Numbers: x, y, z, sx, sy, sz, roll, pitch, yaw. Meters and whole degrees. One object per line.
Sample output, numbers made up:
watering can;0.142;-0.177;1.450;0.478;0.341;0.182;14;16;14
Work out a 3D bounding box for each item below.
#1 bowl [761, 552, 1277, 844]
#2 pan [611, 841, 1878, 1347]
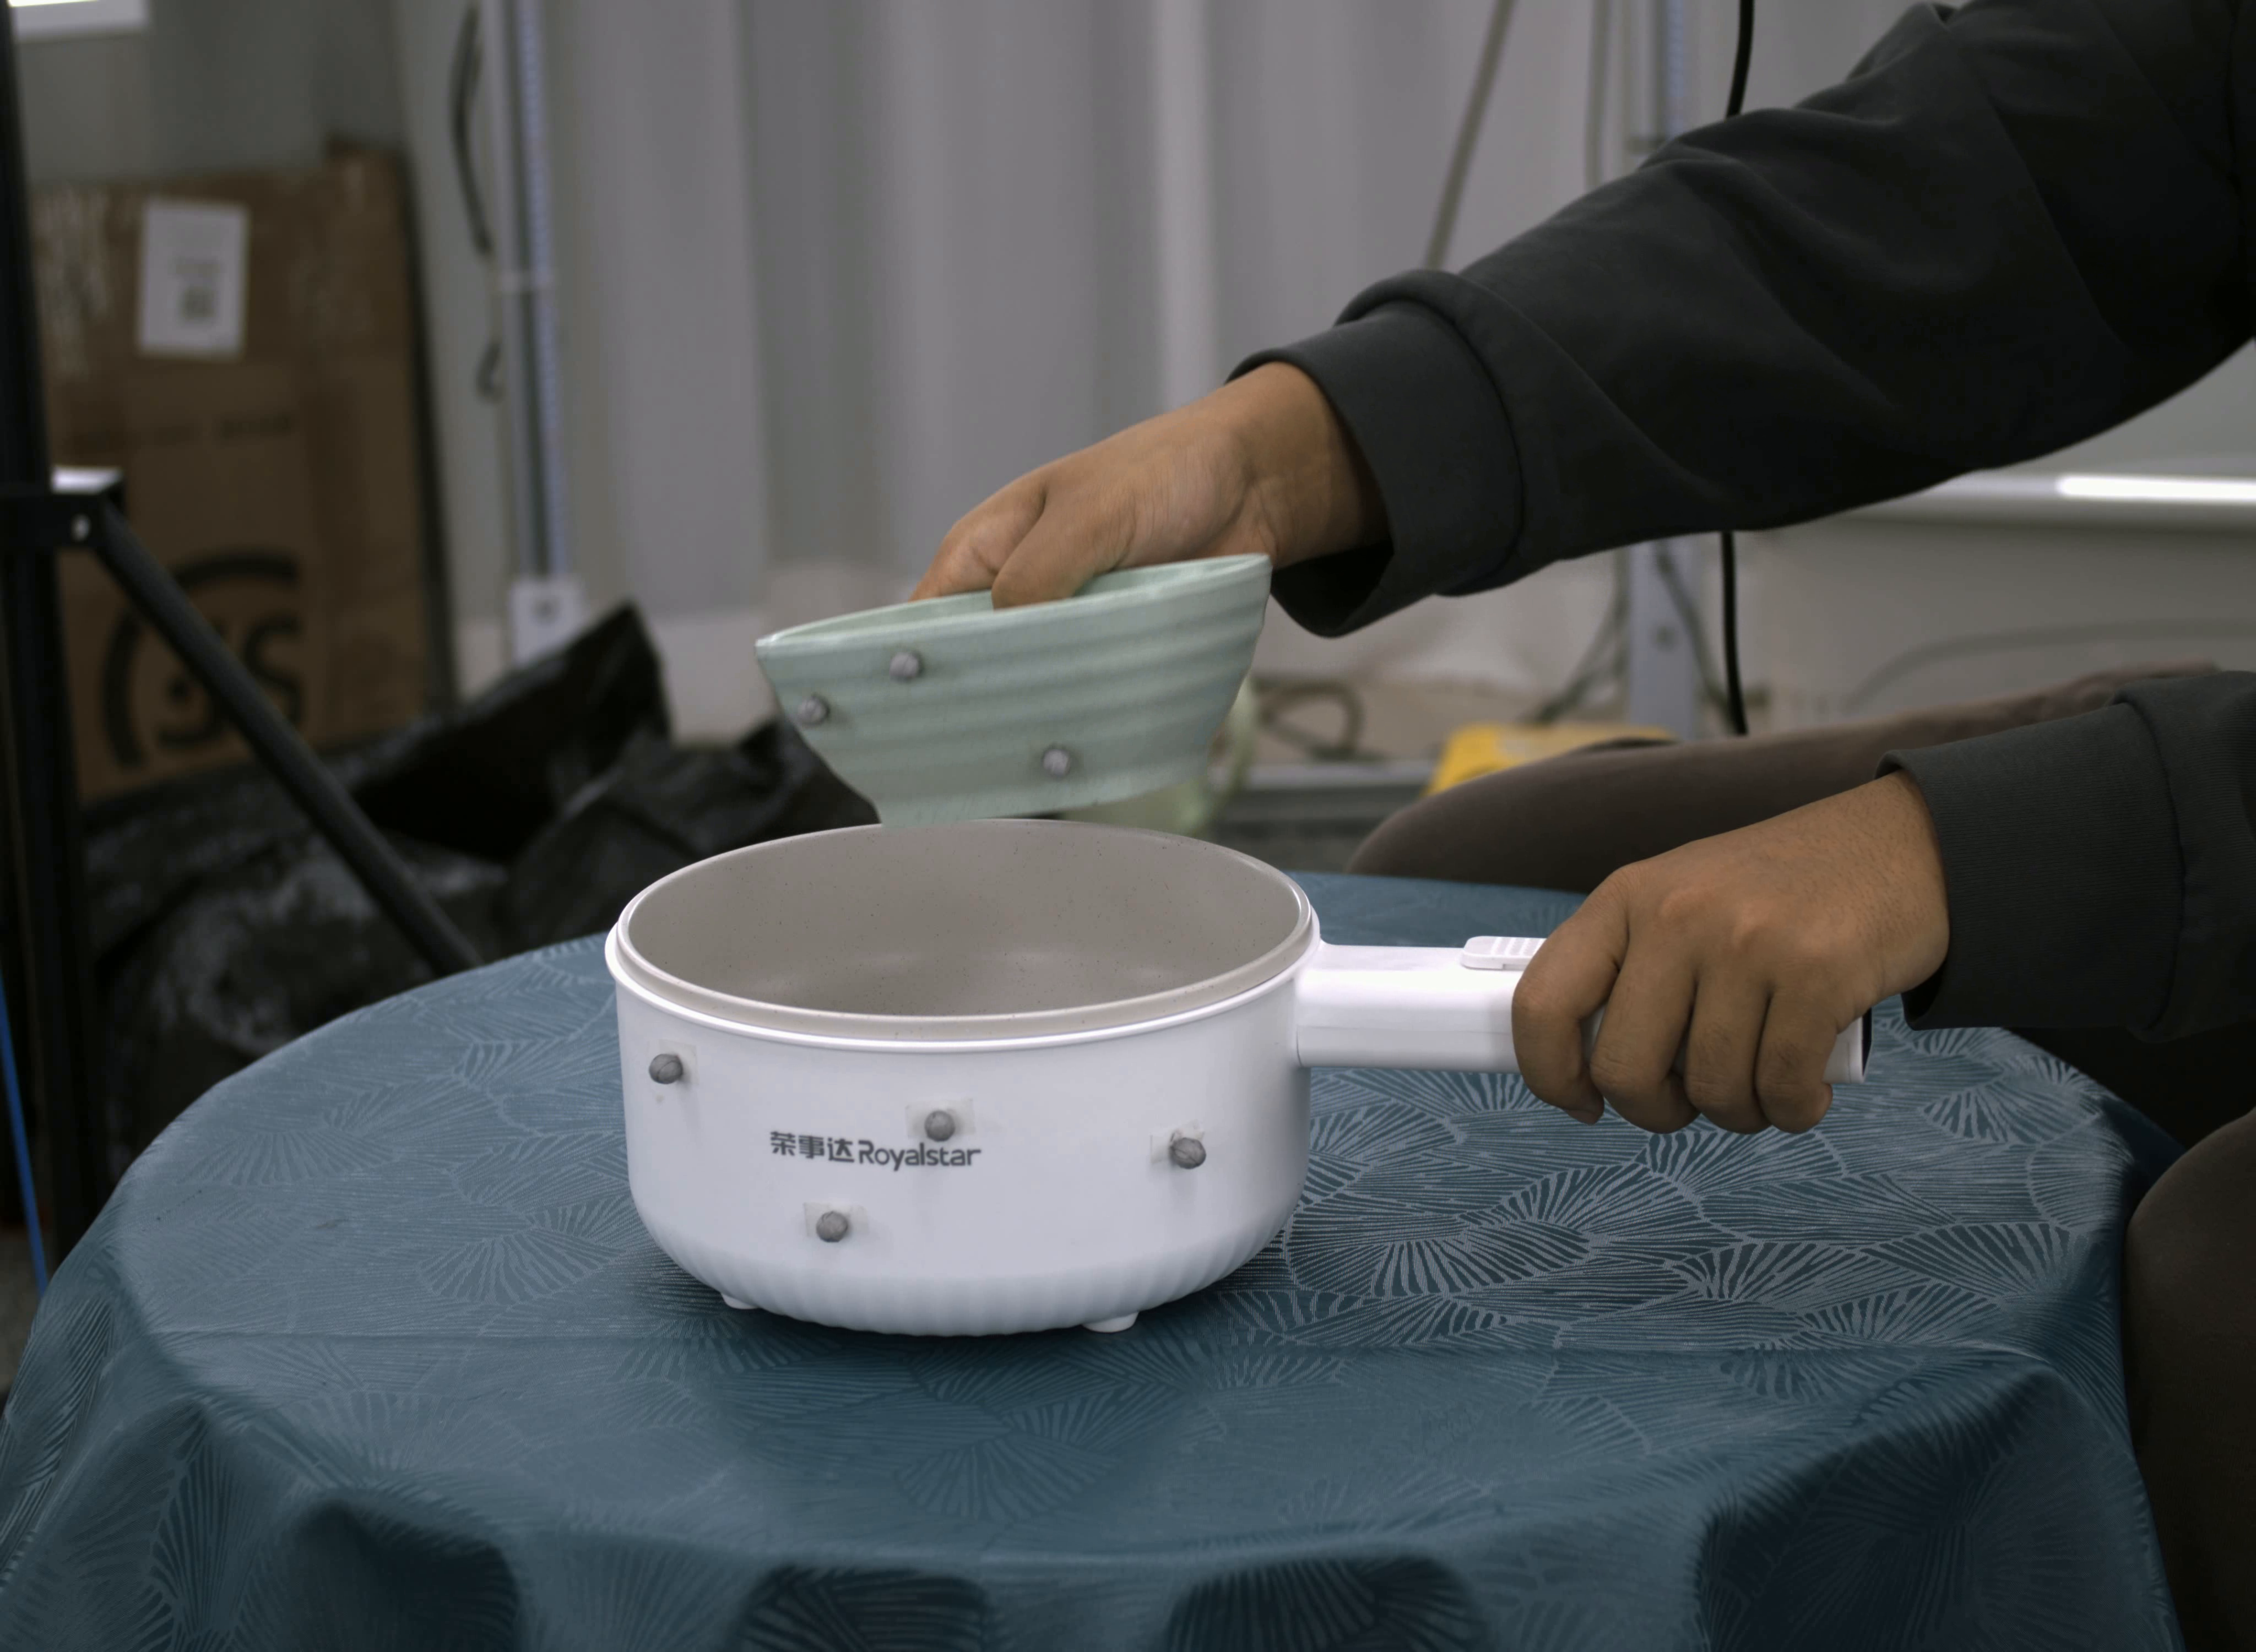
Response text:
bowl;-0.025;-0.033;1.478;0.151;0.059;0.152;-10;6;0
pan;0.030;0.082;1.484;0.357;0.102;0.199;4;14;13
